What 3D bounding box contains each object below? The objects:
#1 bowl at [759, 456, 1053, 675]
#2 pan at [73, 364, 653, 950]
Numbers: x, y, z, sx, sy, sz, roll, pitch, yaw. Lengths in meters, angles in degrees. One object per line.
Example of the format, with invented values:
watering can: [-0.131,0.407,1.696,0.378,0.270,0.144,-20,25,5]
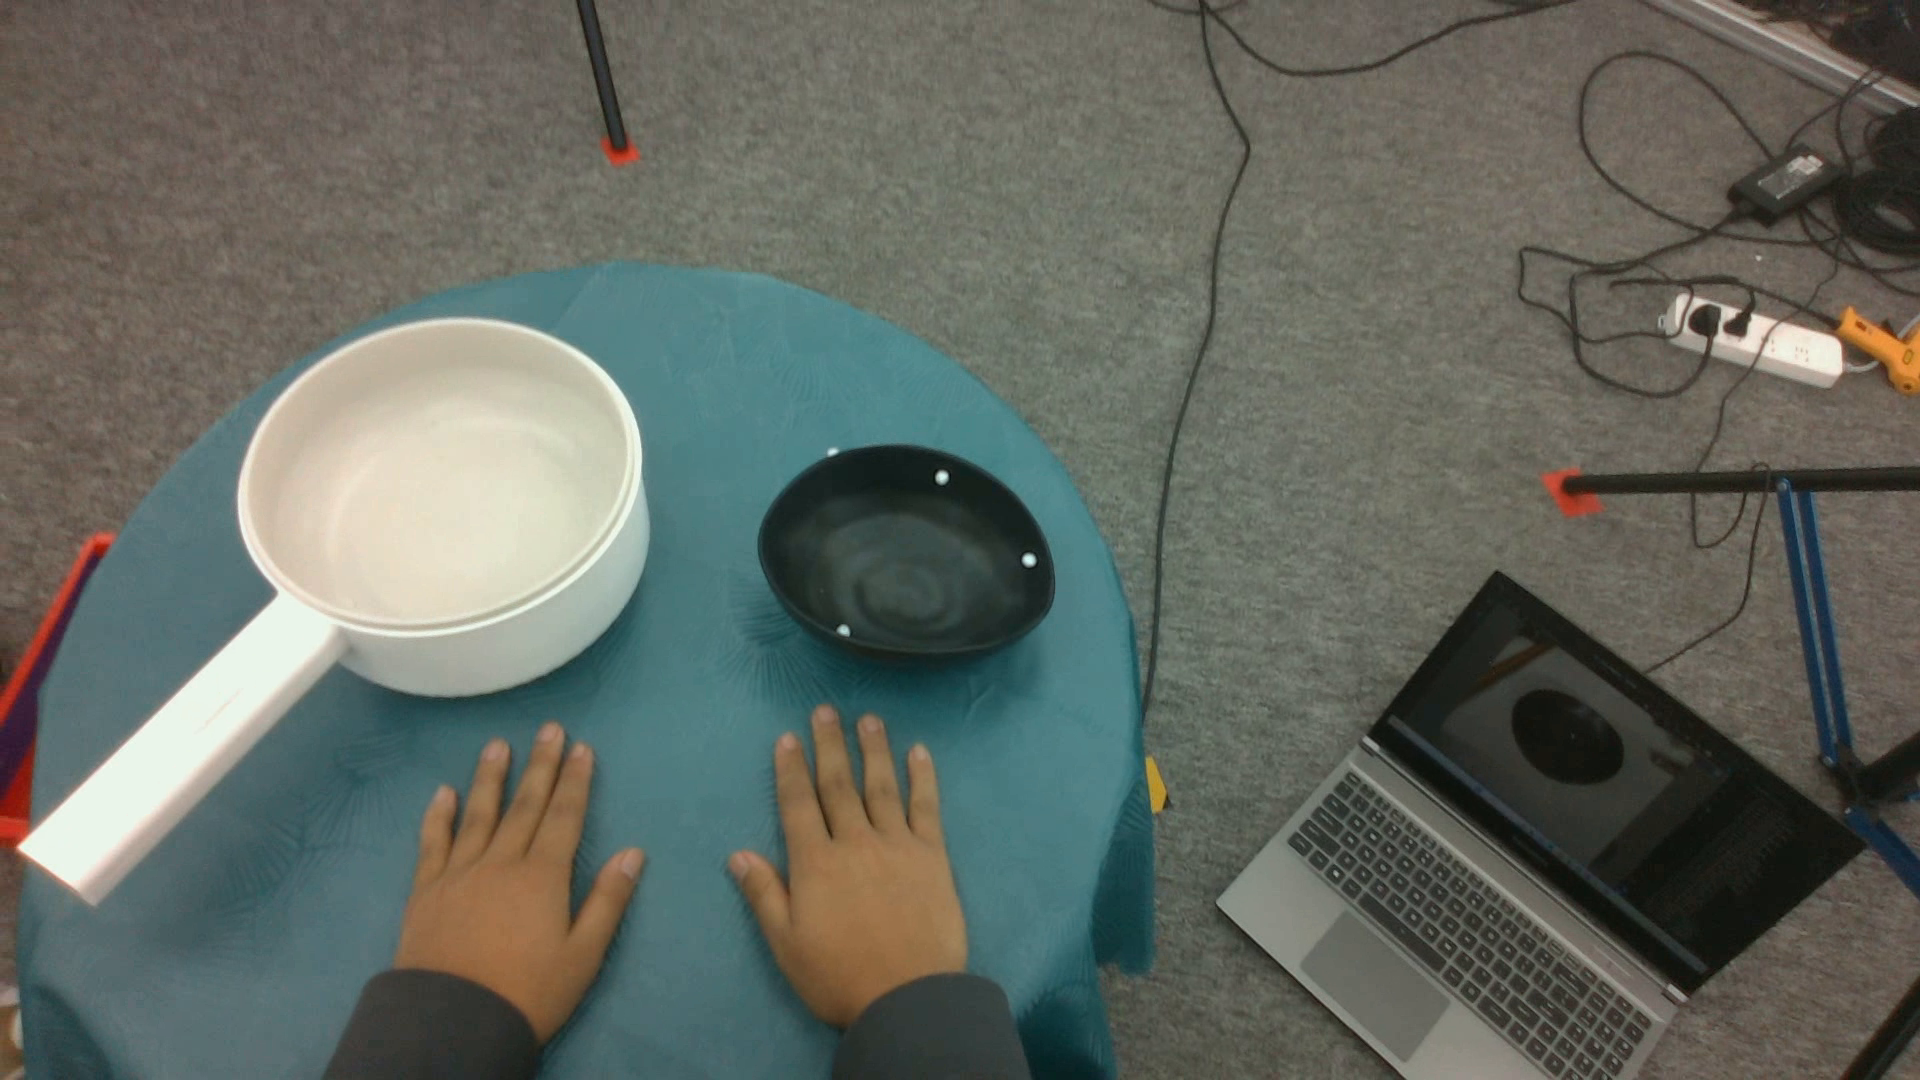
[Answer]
bowl: [-0.031,0.024,0.803,0.170,0.066,0.138,9,56,1]
pan: [-0.312,0.064,0.750,0.201,0.101,0.356,26,60,10]
